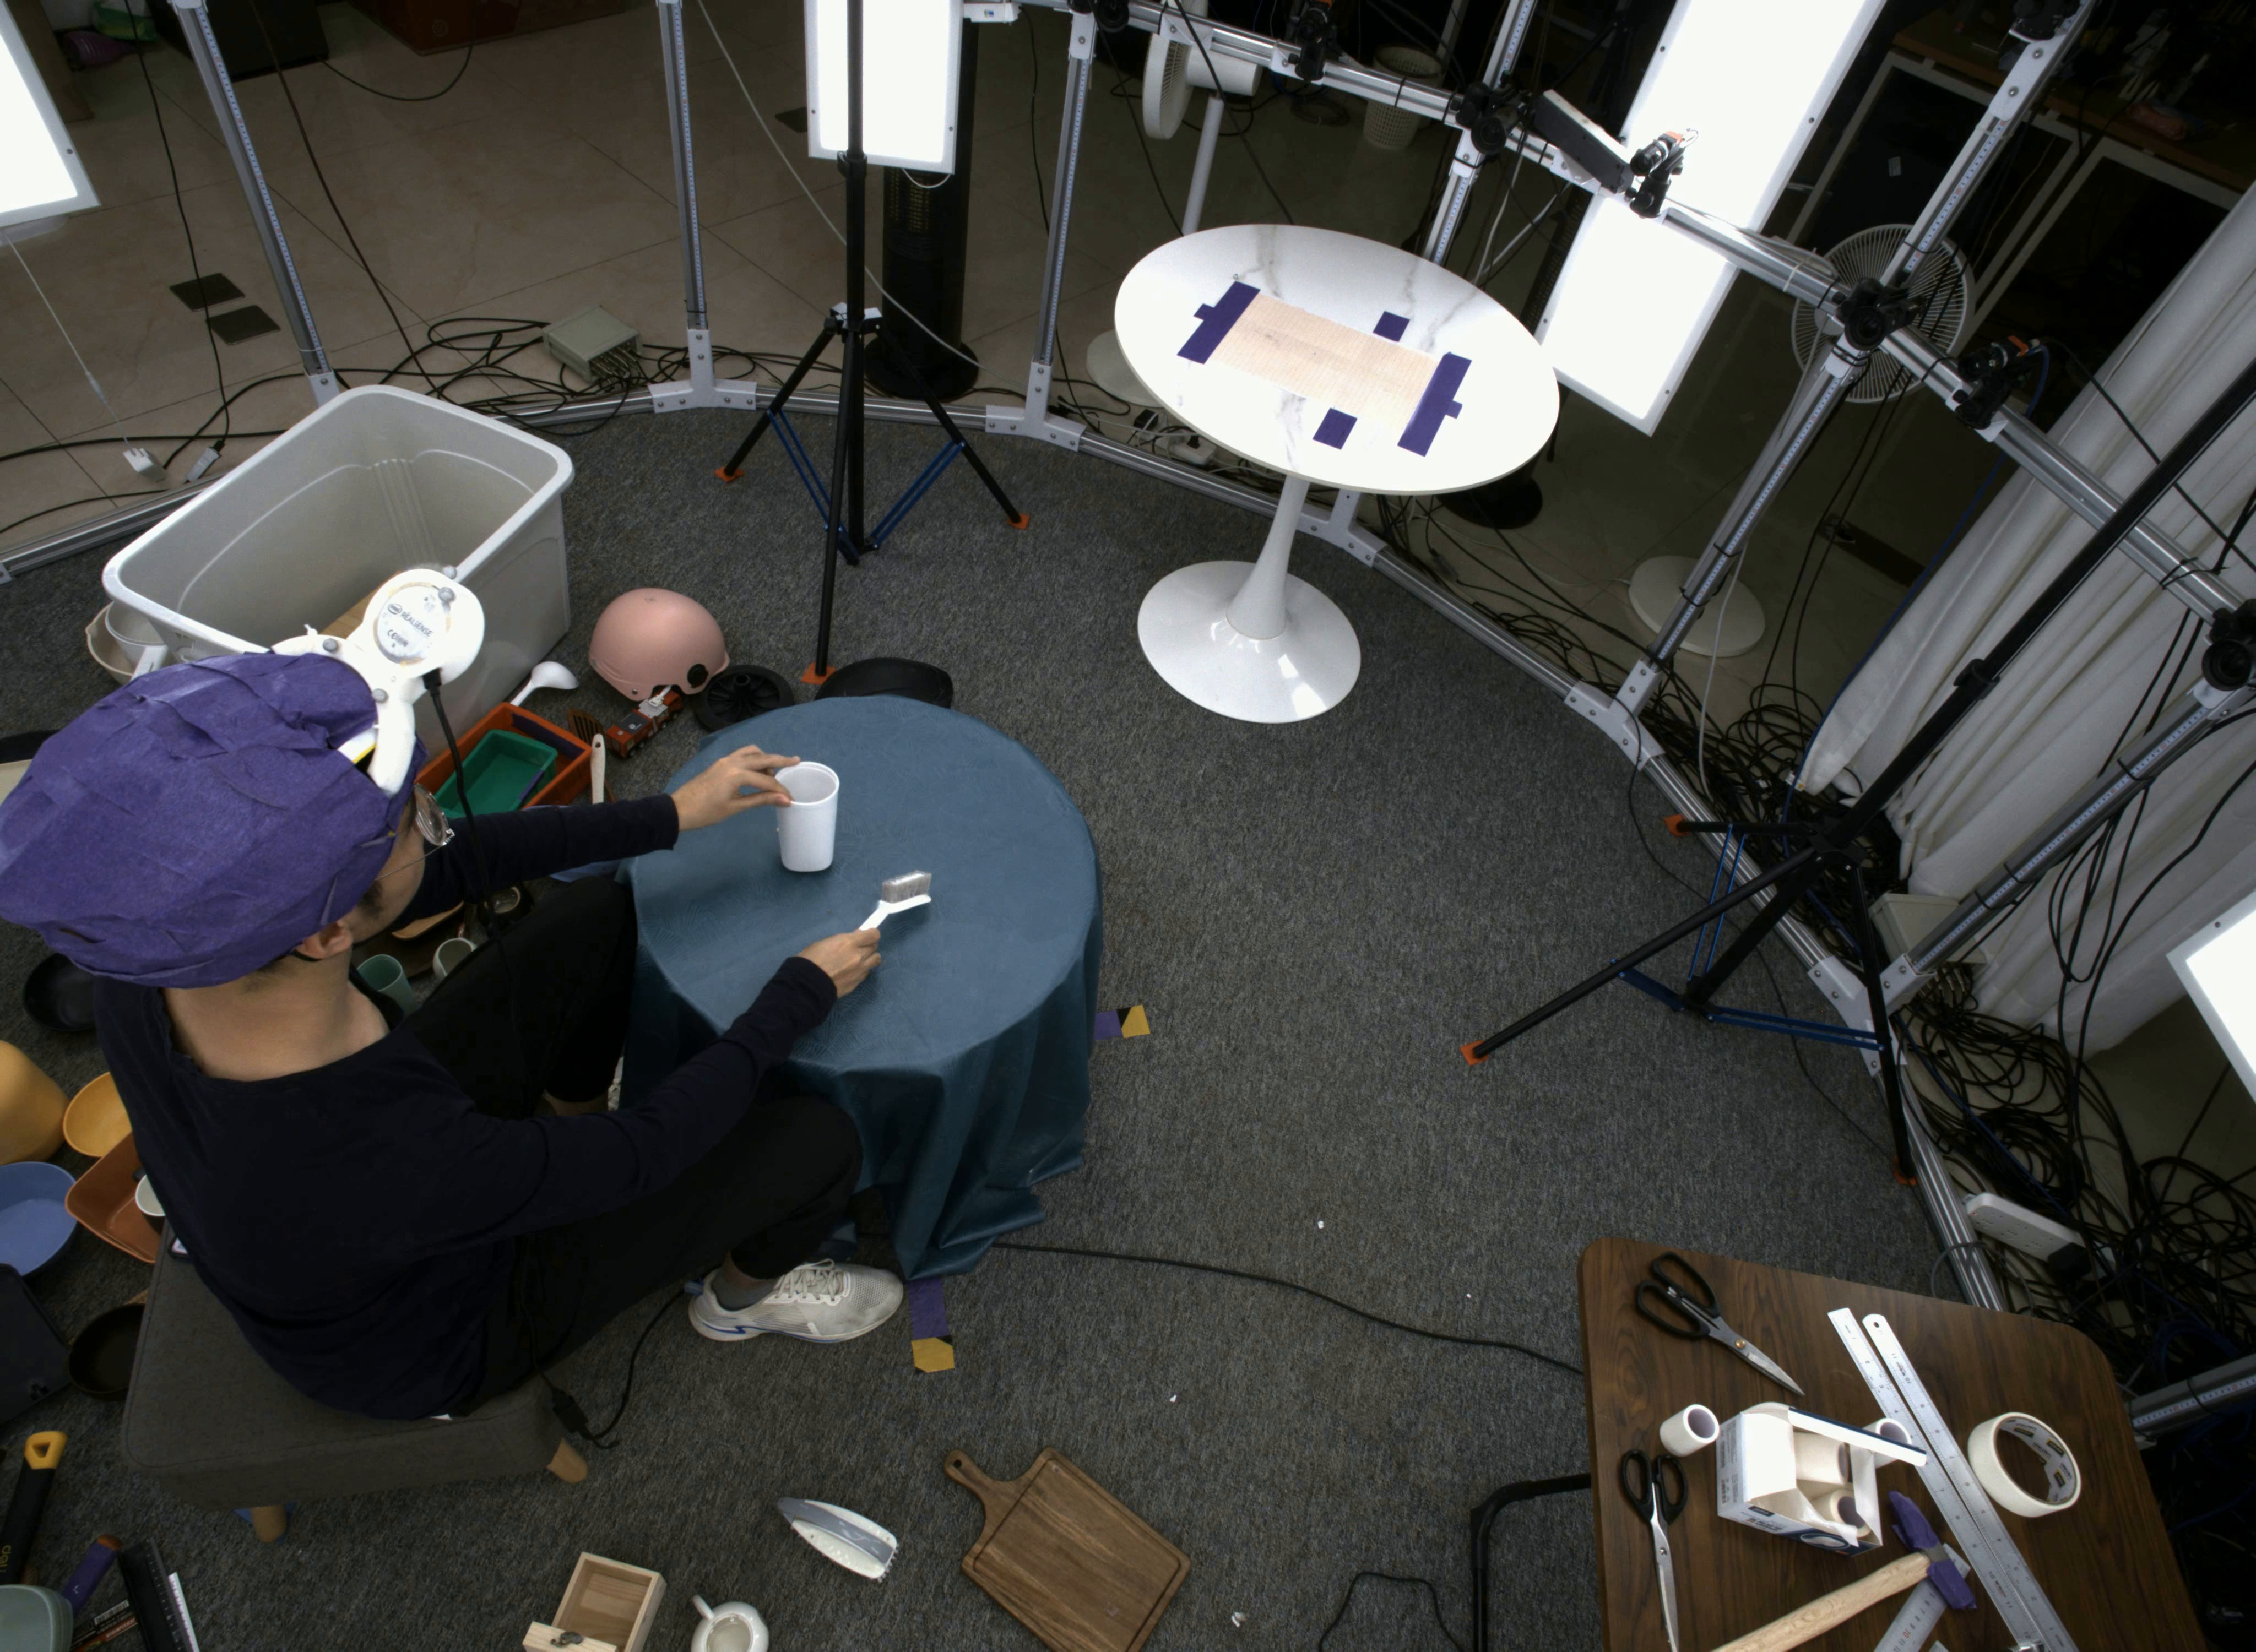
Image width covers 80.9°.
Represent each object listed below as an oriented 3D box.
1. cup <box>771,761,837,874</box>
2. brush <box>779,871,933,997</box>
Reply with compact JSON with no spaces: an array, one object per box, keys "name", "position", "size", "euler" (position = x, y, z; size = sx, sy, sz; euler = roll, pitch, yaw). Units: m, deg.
[{"name":"cup","position":[-0.410,-0.009,1.650],"size":[0.081,0.129,0.080],"euler":[6,42,-4]},{"name":"brush","position":[-0.335,0.124,1.597],"size":[0.033,0.052,0.244],"euler":[20,42,38]}]
